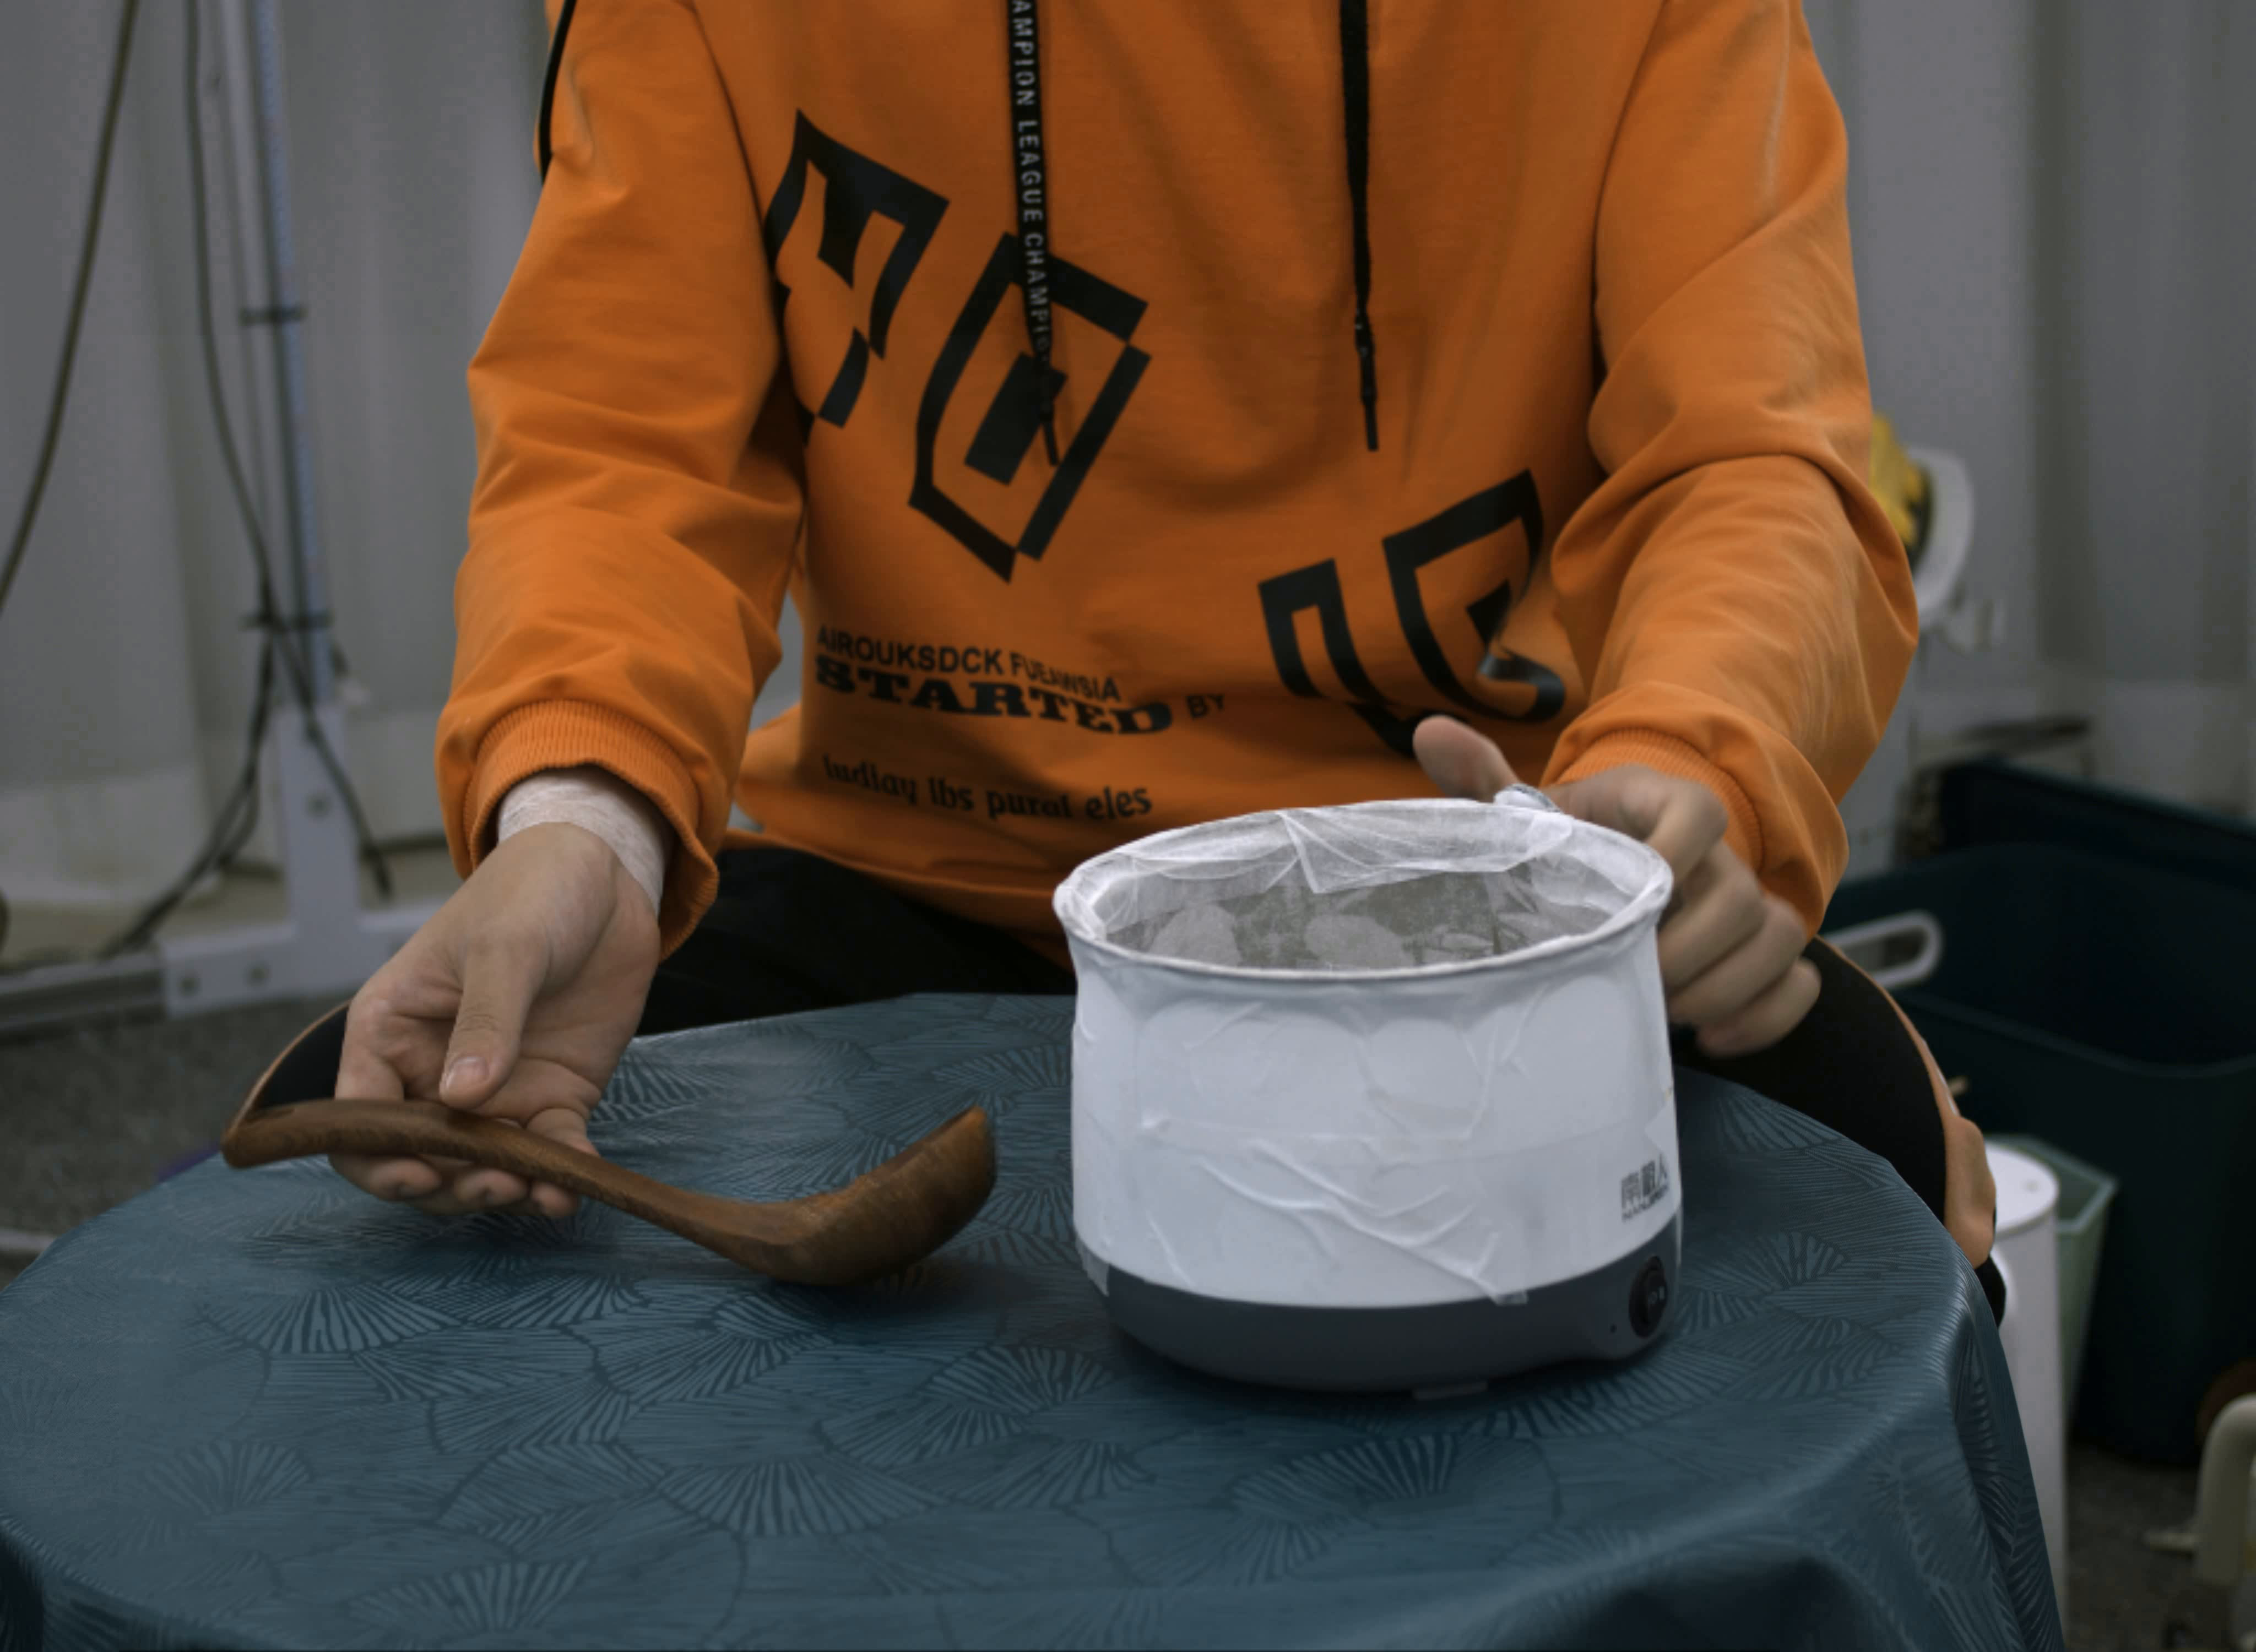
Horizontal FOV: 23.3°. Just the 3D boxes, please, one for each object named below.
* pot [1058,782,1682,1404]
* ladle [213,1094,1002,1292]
[{"bbox_3d":[0.084,0.071,1.599,0.179,0.136,0.234,6,17,29],"label":"pot"},{"bbox_3d":[-0.162,0.095,1.665,0.260,0.065,0.076,11,15,20],"label":"ladle"}]
